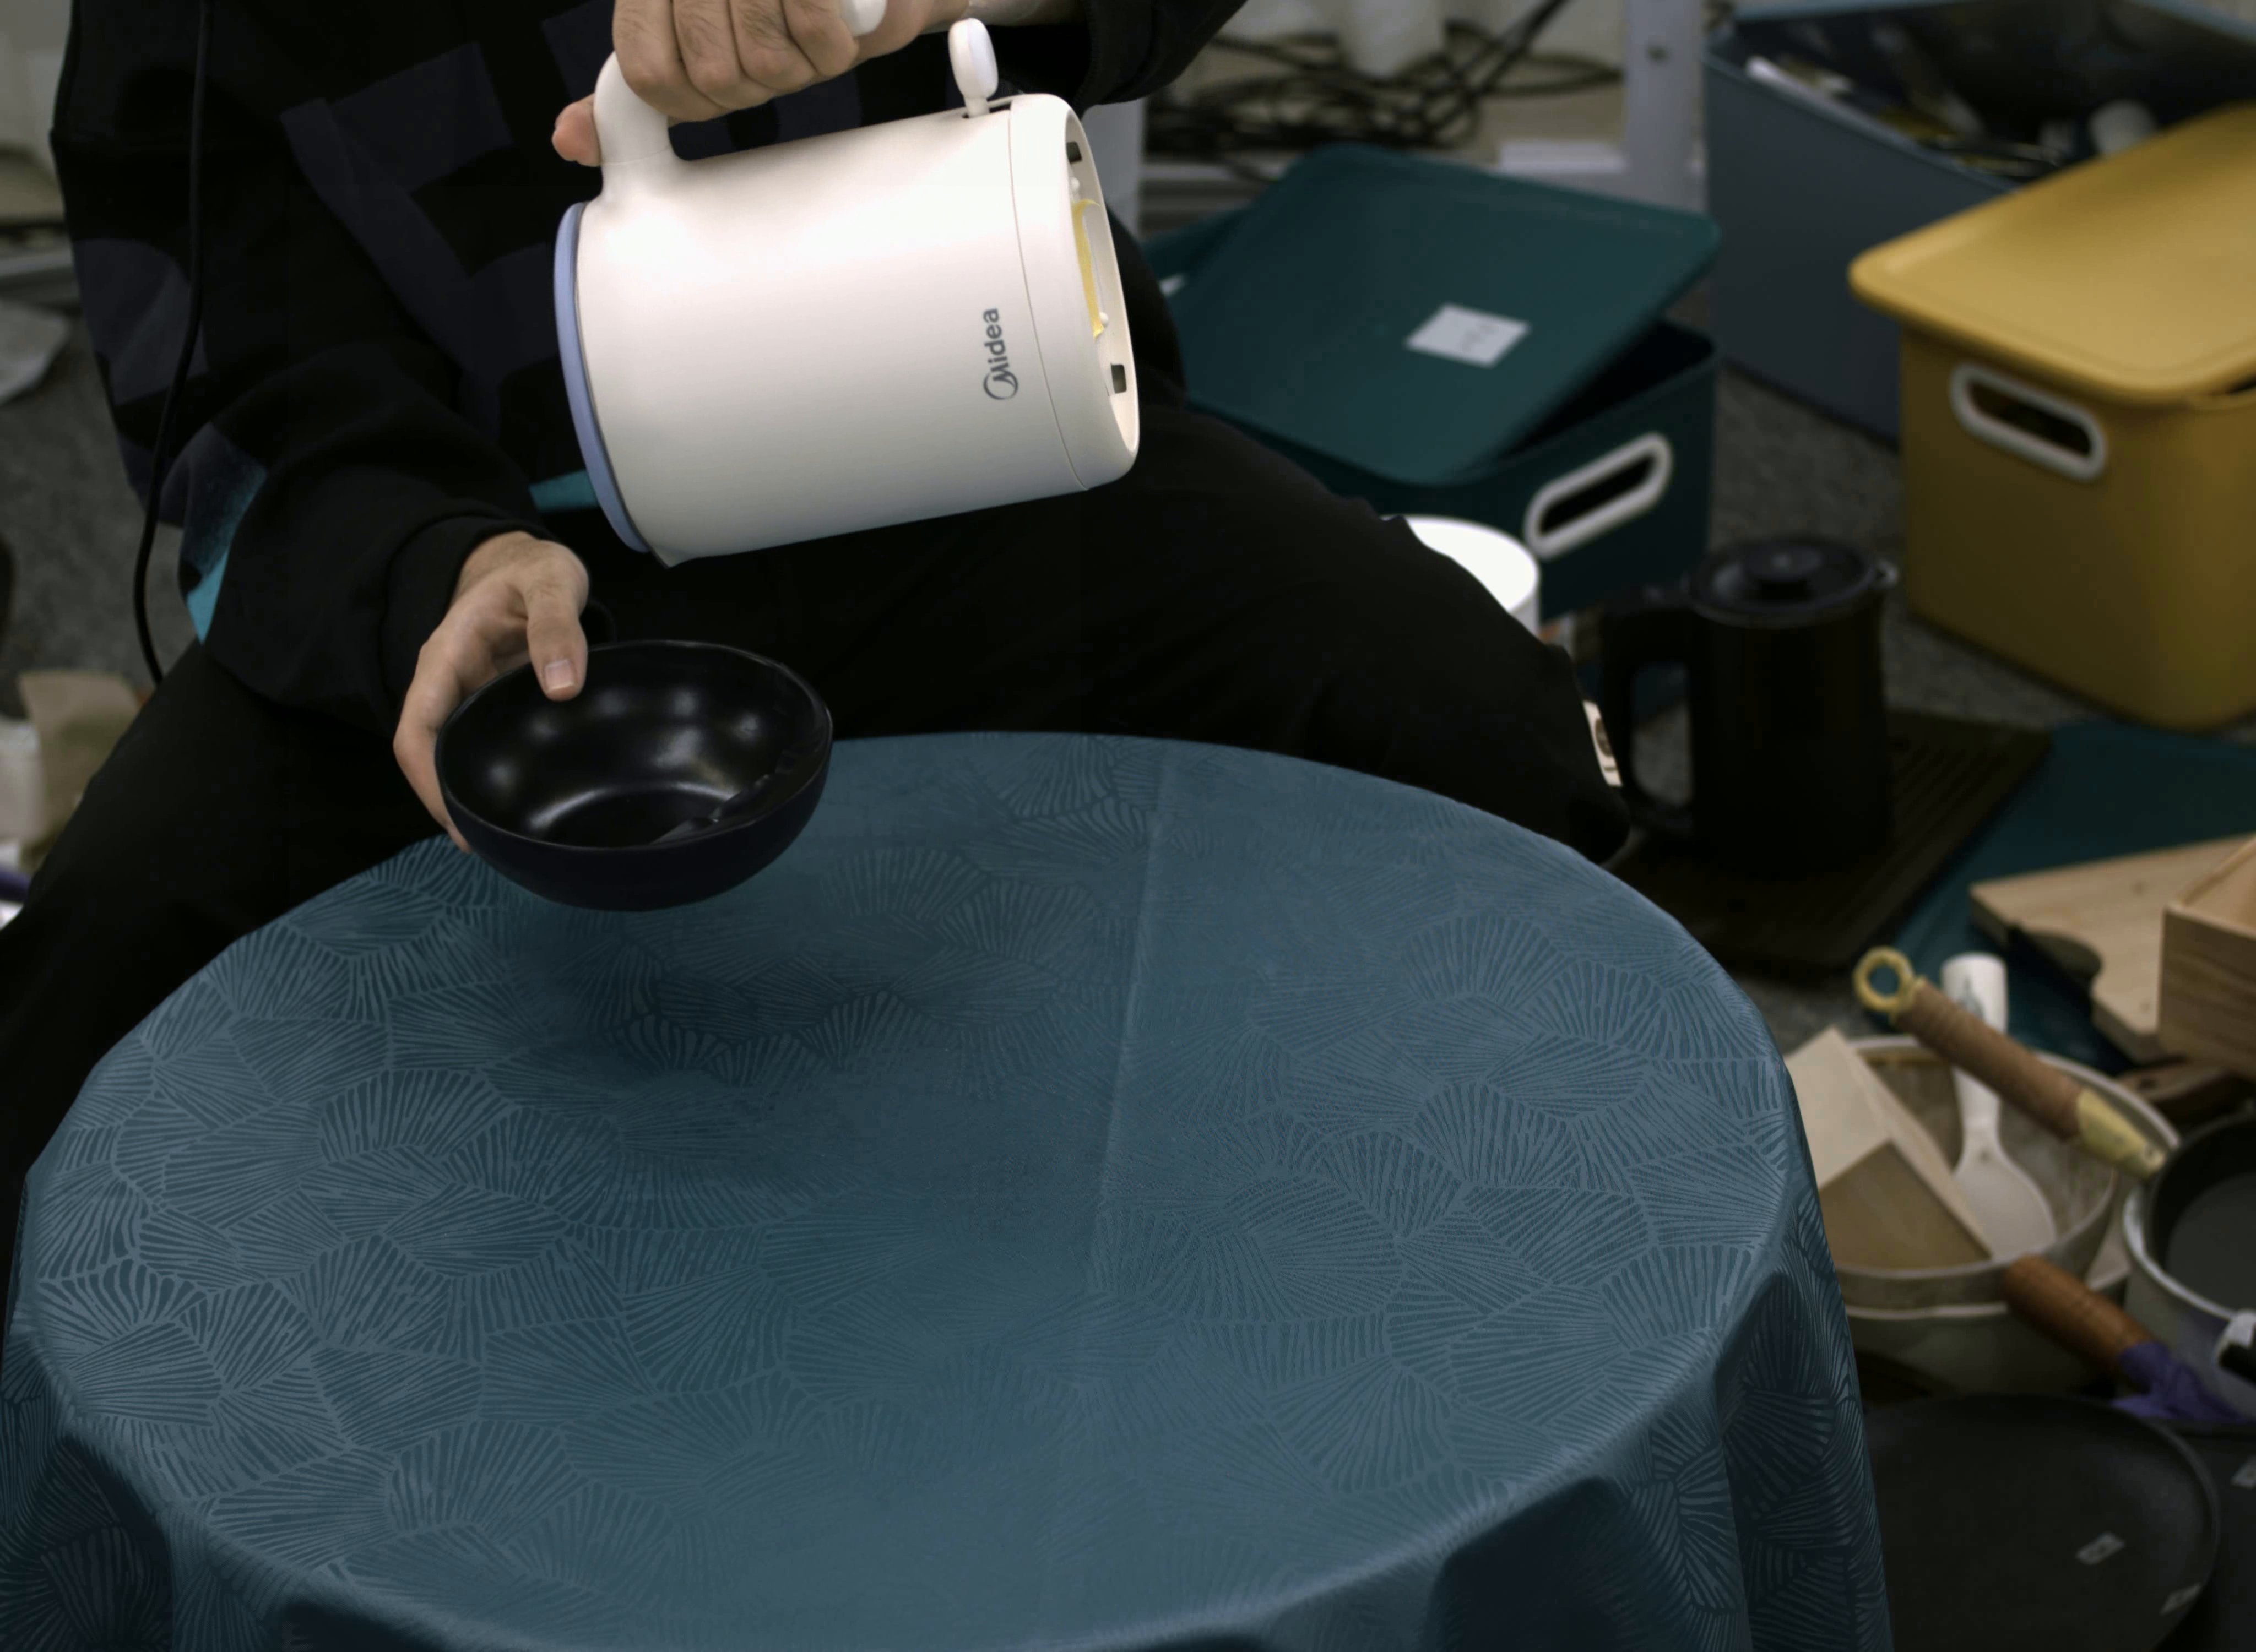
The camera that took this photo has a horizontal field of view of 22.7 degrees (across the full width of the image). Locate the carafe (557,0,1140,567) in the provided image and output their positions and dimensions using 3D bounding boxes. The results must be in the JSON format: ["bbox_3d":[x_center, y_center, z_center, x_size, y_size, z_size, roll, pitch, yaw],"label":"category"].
[{"bbox_3d":[-0.094,-0.188,1.858,0.181,0.190,0.133,-8,17,4],"label":"carafe"}]

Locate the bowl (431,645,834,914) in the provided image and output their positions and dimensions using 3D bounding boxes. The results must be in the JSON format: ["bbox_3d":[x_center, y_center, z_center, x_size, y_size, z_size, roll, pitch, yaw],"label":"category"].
[{"bbox_3d":[-0.169,-0.008,1.943,0.139,0.049,0.142,-1,30,1],"label":"bowl"}]
